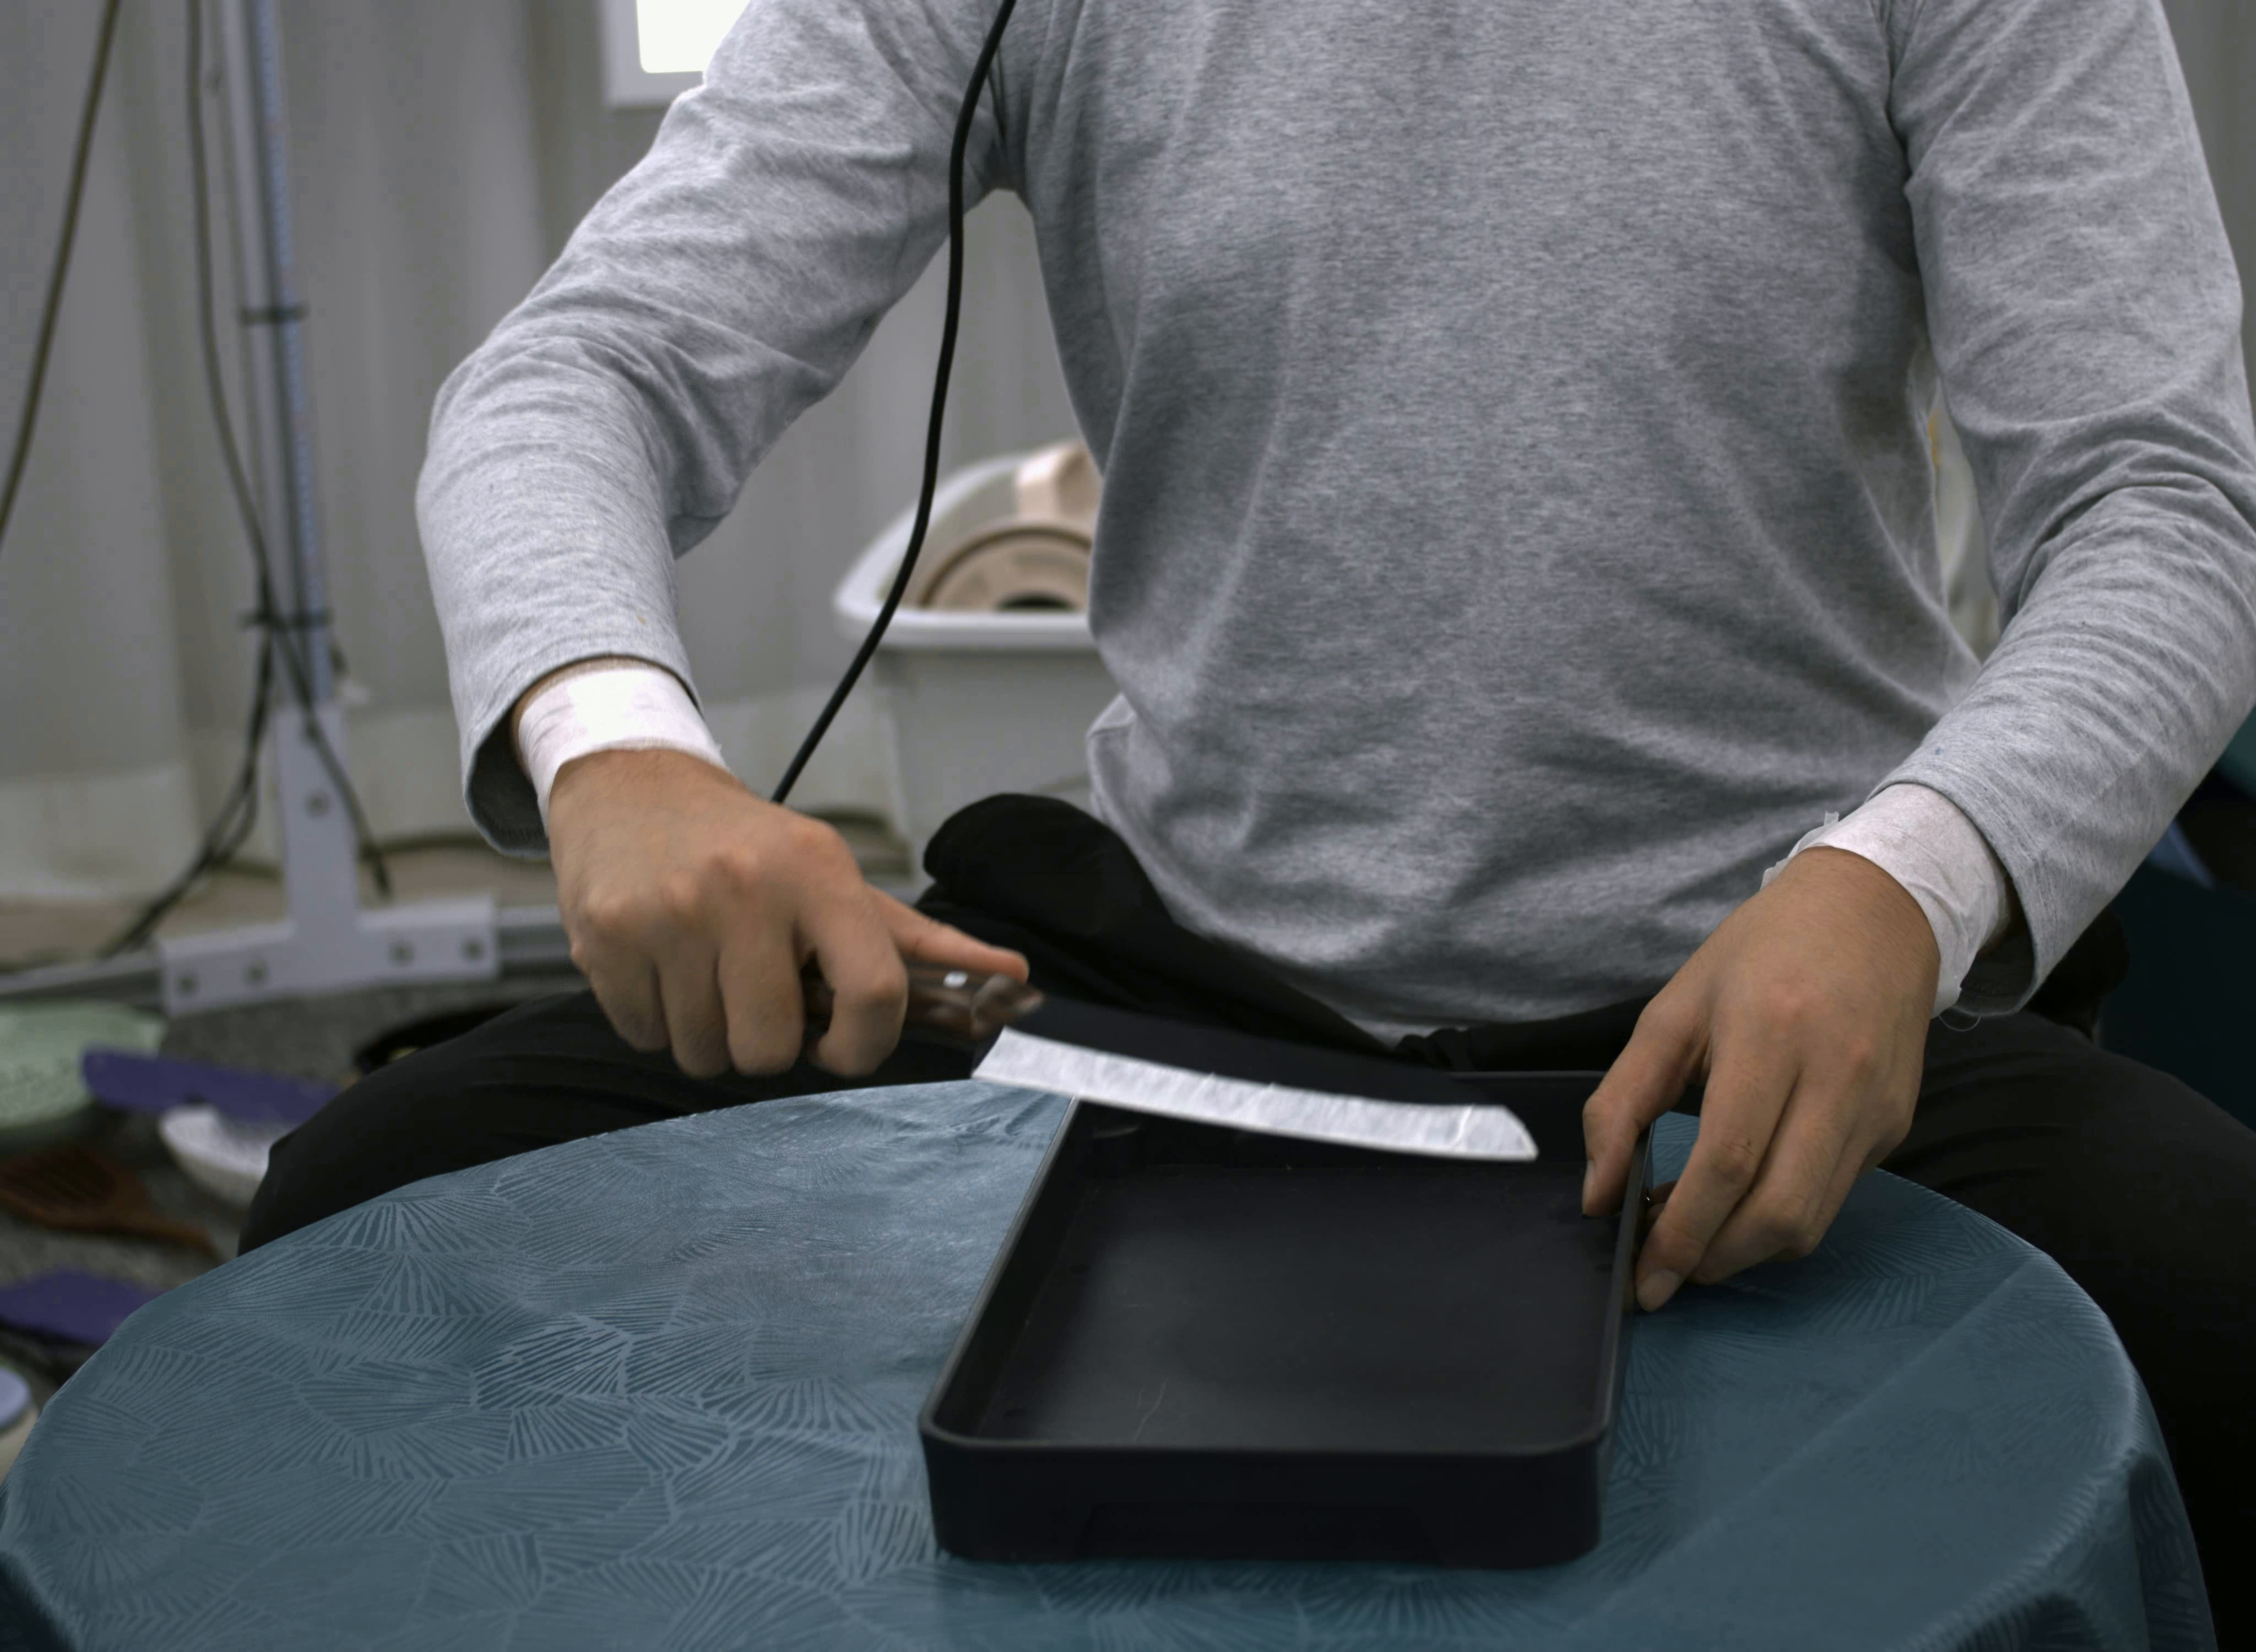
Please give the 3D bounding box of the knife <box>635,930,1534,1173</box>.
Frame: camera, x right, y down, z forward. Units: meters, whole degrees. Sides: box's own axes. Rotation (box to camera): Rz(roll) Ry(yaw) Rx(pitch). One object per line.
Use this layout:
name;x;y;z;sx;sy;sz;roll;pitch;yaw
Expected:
knife;-0.017;0.067;1.580;0.290;0.020;0.050;11;37;22

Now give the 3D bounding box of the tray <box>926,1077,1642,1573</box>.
tray;0.053;0.137;1.556;0.184;0.037;0.320;-1;14;7
